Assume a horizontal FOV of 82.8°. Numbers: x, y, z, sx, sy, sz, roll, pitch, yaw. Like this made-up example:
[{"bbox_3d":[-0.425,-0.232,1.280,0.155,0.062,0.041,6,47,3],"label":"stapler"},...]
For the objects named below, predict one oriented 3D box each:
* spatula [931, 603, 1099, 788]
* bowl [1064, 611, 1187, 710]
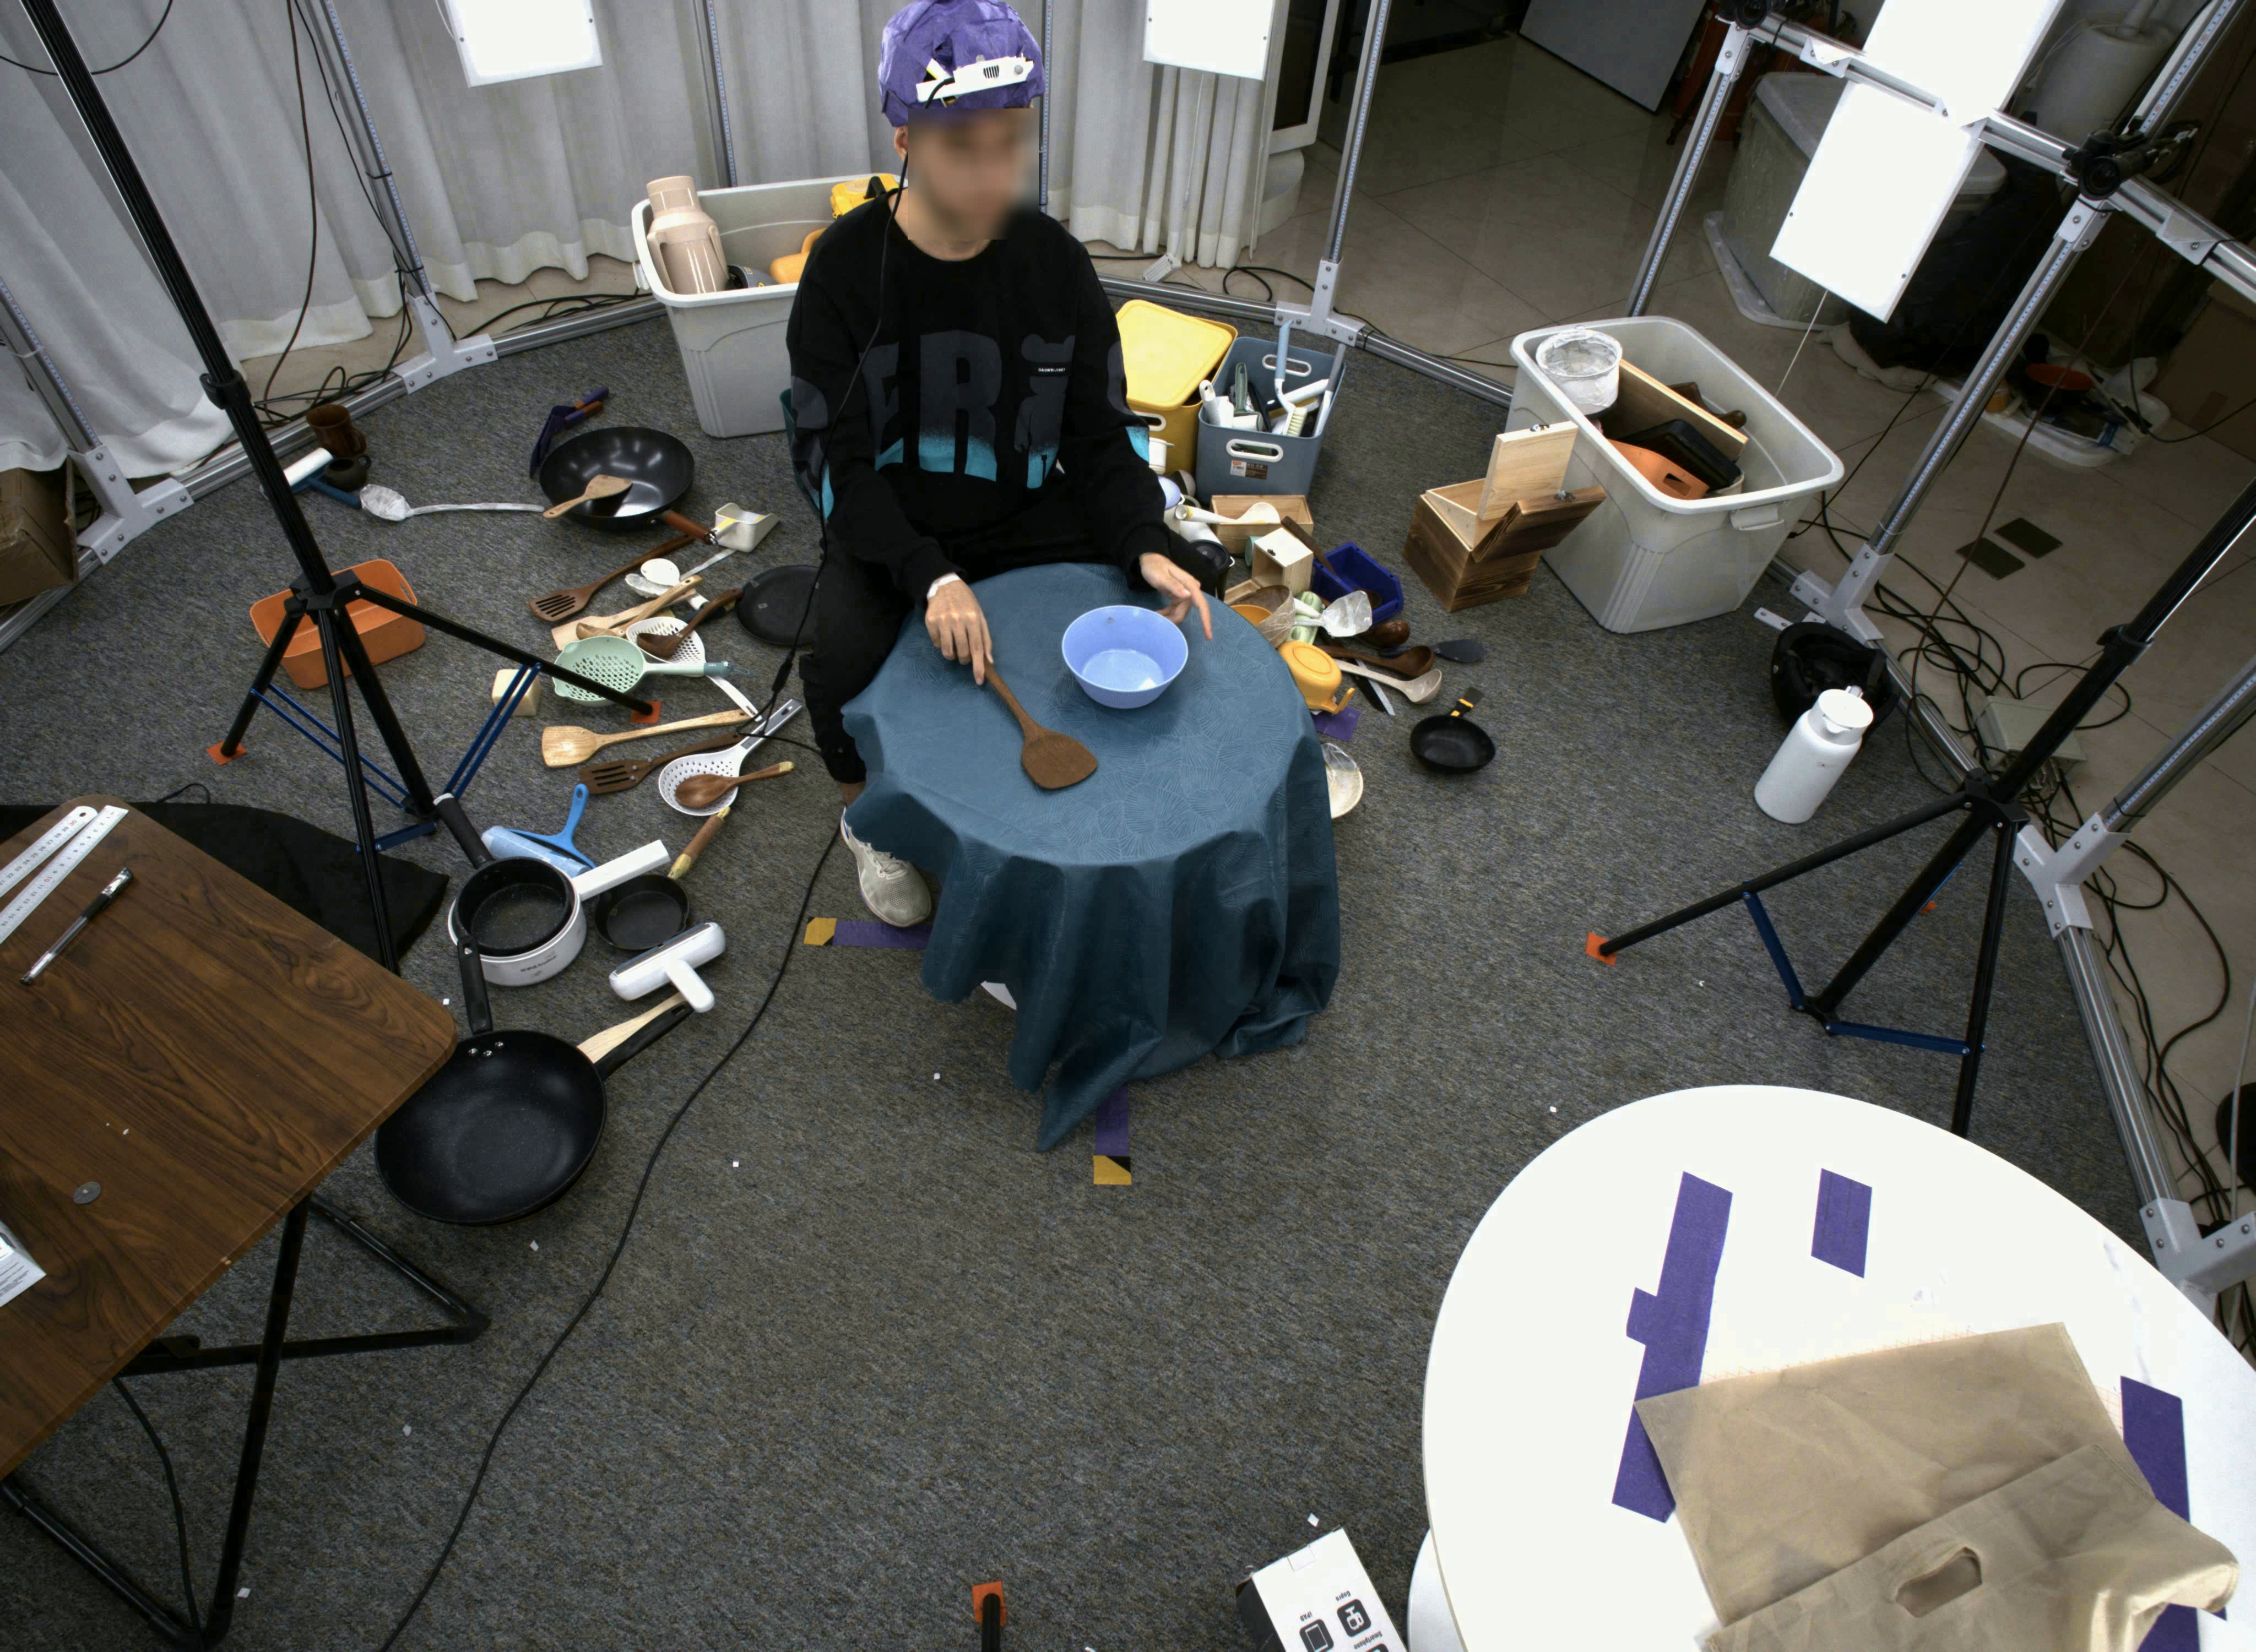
[{"bbox_3d":[-0.177,-0.194,1.814,0.096,0.015,0.393,-23,59,-27],"label":"spatula"},{"bbox_3d":[-0.005,-0.228,1.838,0.176,0.068,0.180,2,48,-2],"label":"bowl"}]
